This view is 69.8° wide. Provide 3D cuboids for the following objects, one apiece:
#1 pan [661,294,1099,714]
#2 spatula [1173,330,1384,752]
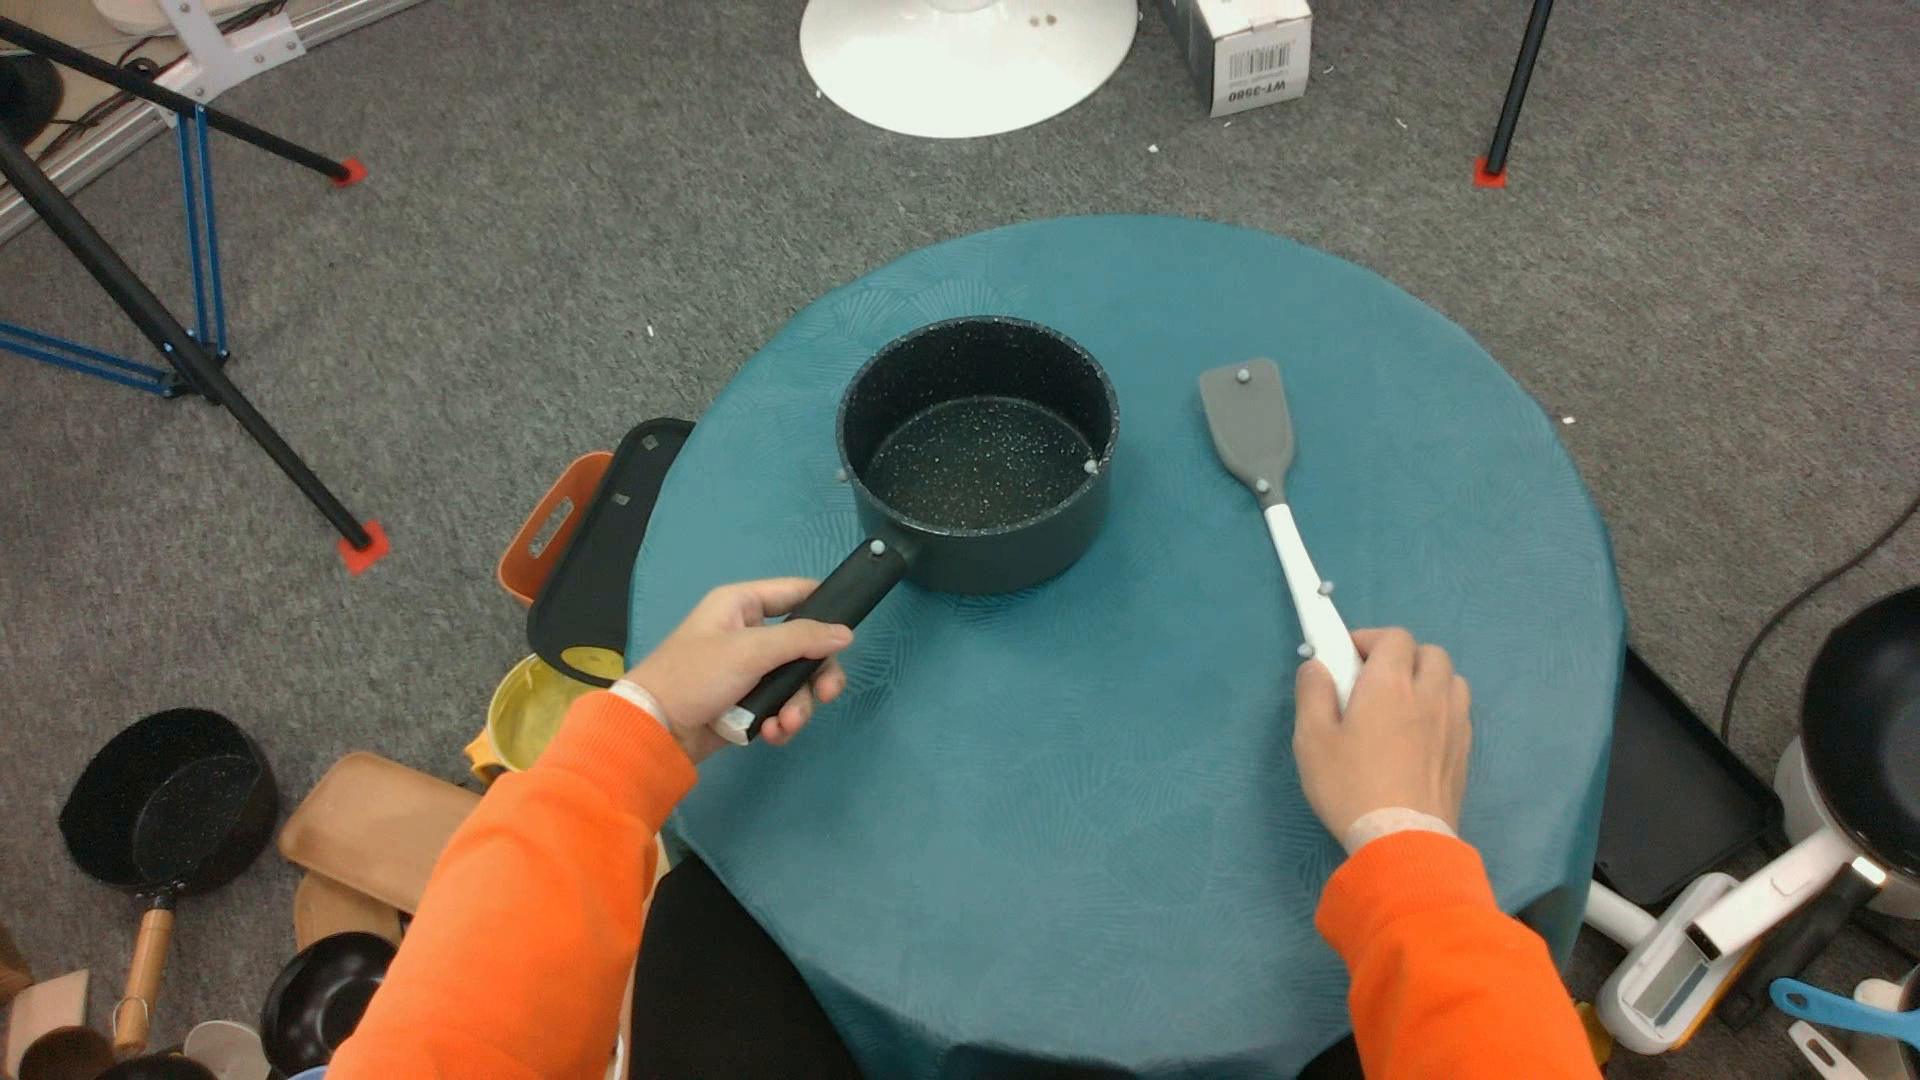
[{"bbox_3d":[-0.047,-0.010,0.814,0.172,0.086,0.330,29,61,21],"label":"pan"},{"bbox_3d":[0.190,-0.009,0.830,0.058,0.032,0.288,-17,57,8],"label":"spatula"}]
